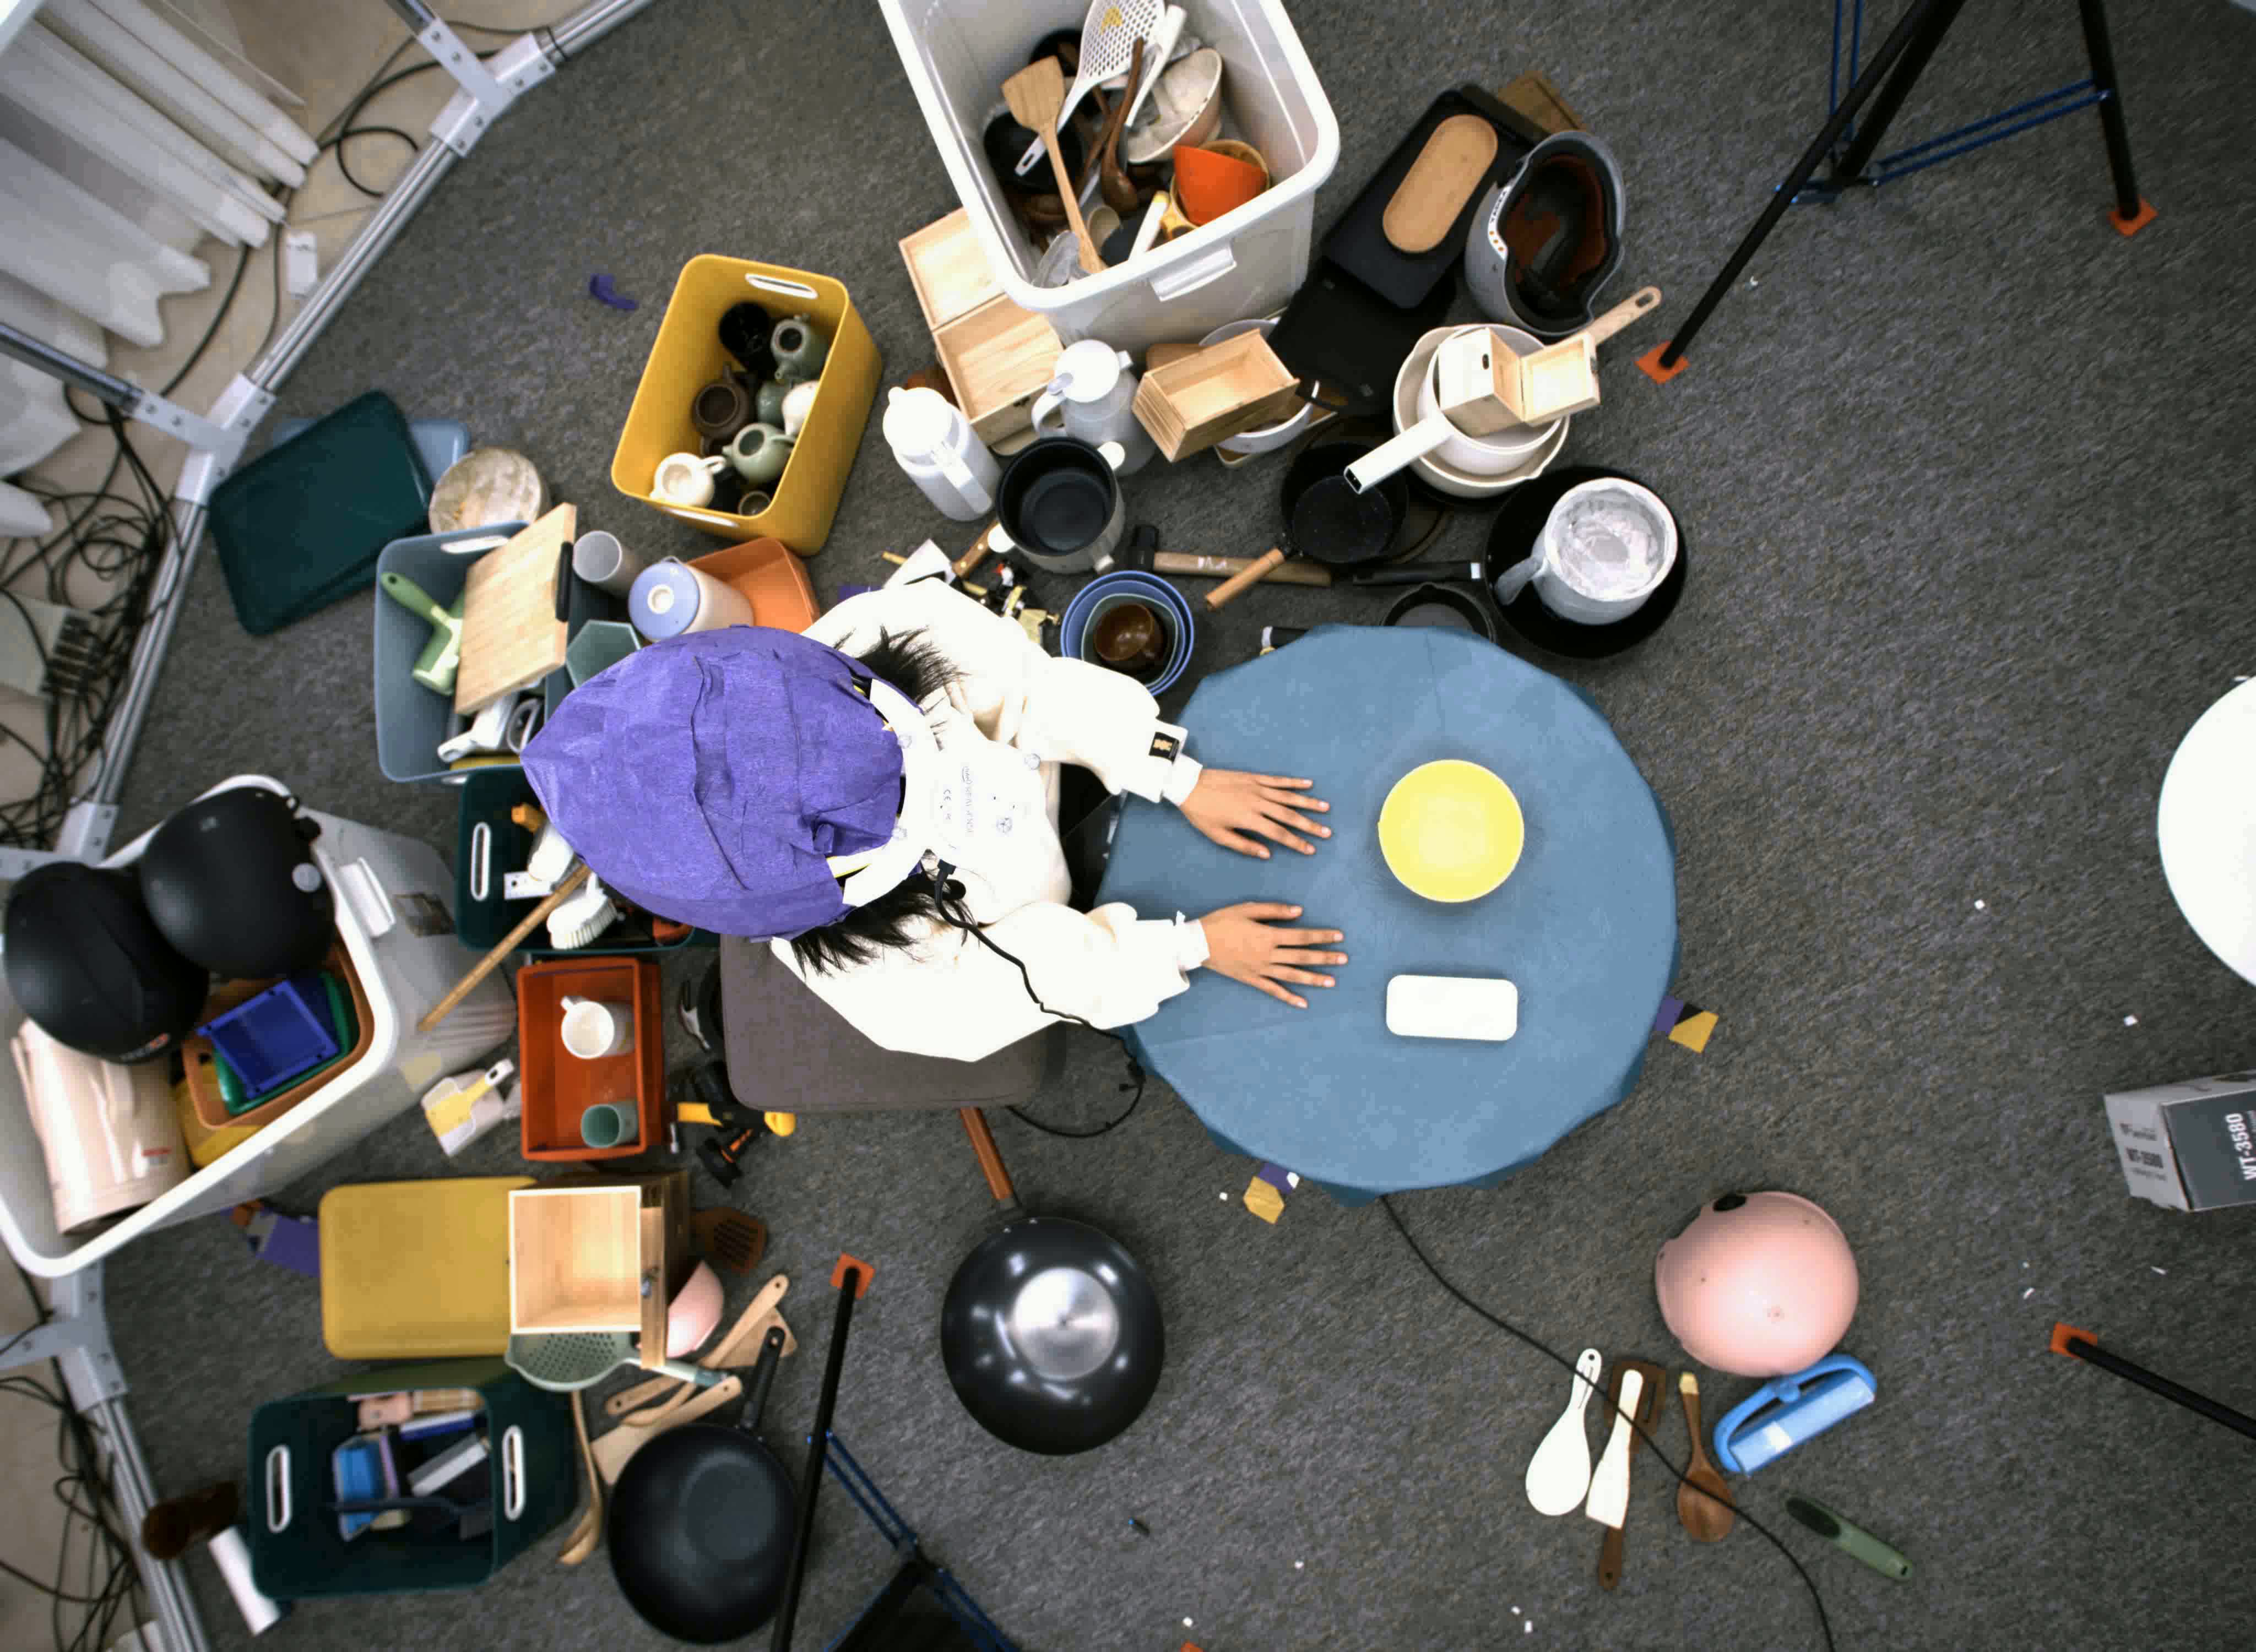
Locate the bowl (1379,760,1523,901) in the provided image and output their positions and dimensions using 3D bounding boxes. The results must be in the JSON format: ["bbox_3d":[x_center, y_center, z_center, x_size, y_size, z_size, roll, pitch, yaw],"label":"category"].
[{"bbox_3d":[0.331,0.005,1.423,0.146,0.060,0.145,-1,87,8],"label":"bowl"}]

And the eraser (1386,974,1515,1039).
[{"bbox_3d":[0.333,0.184,1.427,0.132,0.034,0.063,2,85,10],"label":"eraser"}]
